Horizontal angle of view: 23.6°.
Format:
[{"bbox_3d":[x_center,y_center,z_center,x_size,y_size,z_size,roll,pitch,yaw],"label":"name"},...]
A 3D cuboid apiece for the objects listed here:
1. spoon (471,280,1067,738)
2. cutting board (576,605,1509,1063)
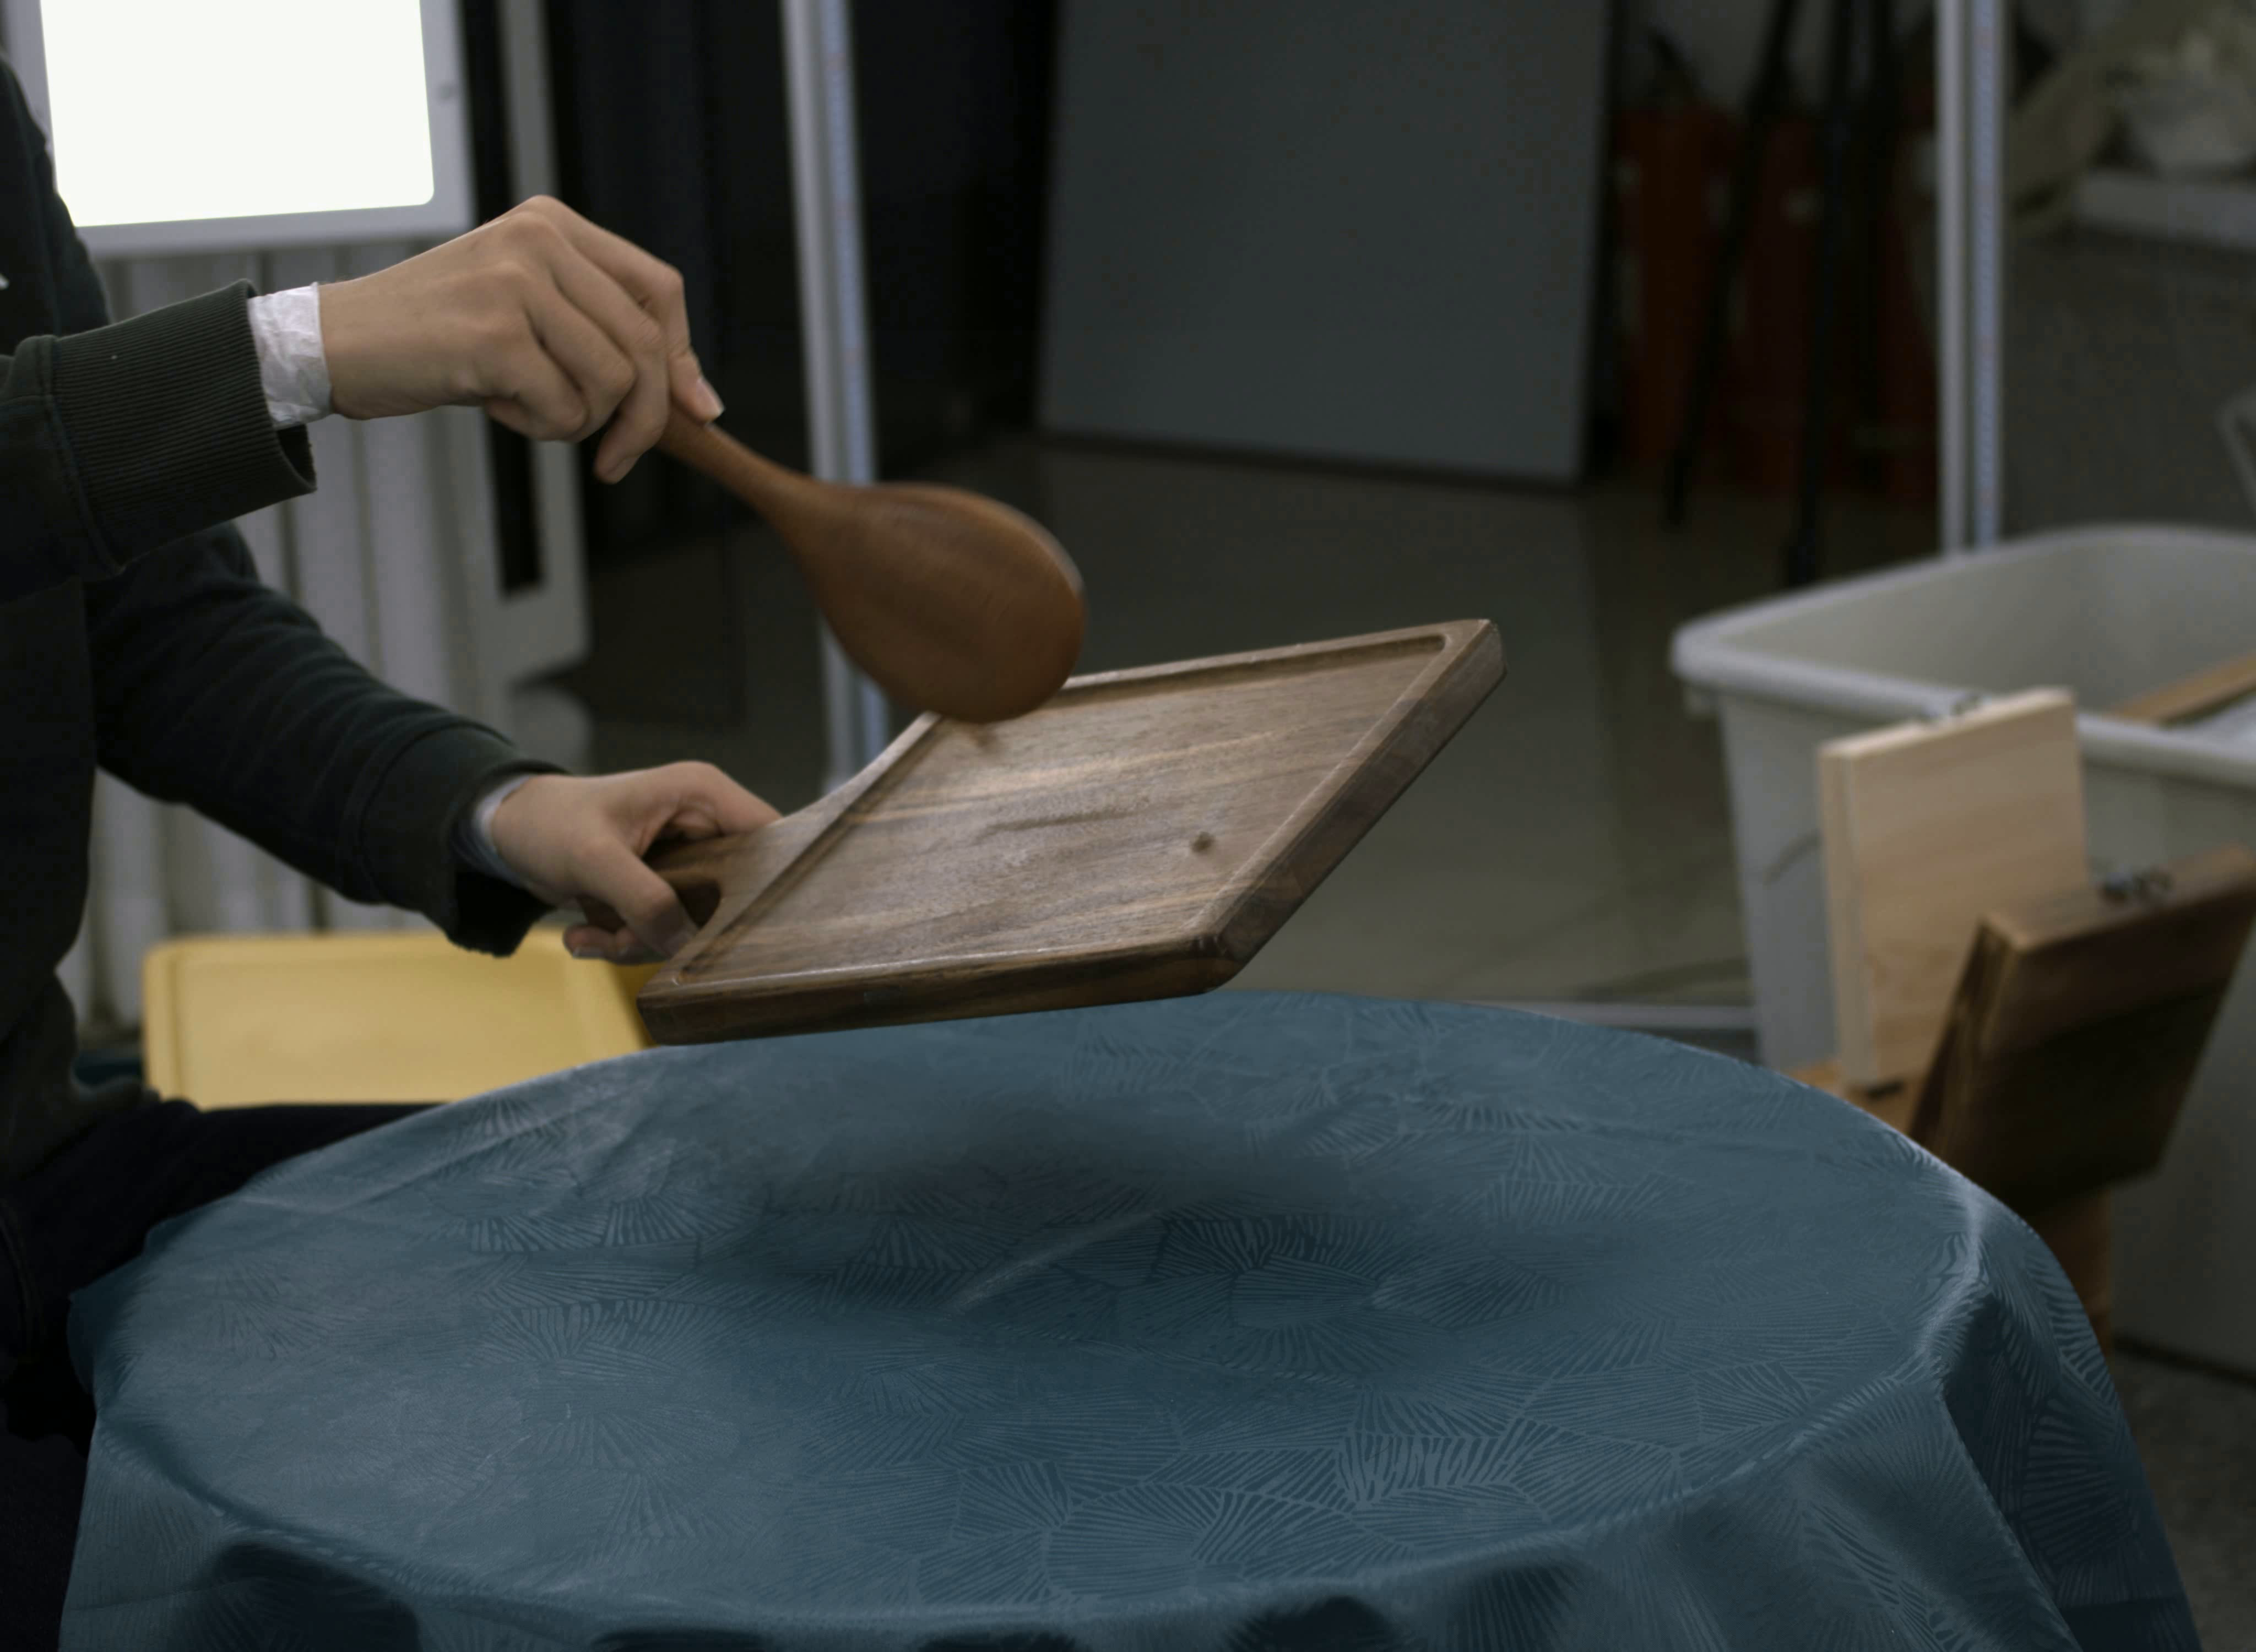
[{"bbox_3d":[-0.112,-0.099,1.679,0.214,0.076,0.017,36,24,-10],"label":"spoon"},{"bbox_3d":[-0.054,0.008,1.782,0.355,0.023,0.199,-9,29,42],"label":"cutting board"}]
